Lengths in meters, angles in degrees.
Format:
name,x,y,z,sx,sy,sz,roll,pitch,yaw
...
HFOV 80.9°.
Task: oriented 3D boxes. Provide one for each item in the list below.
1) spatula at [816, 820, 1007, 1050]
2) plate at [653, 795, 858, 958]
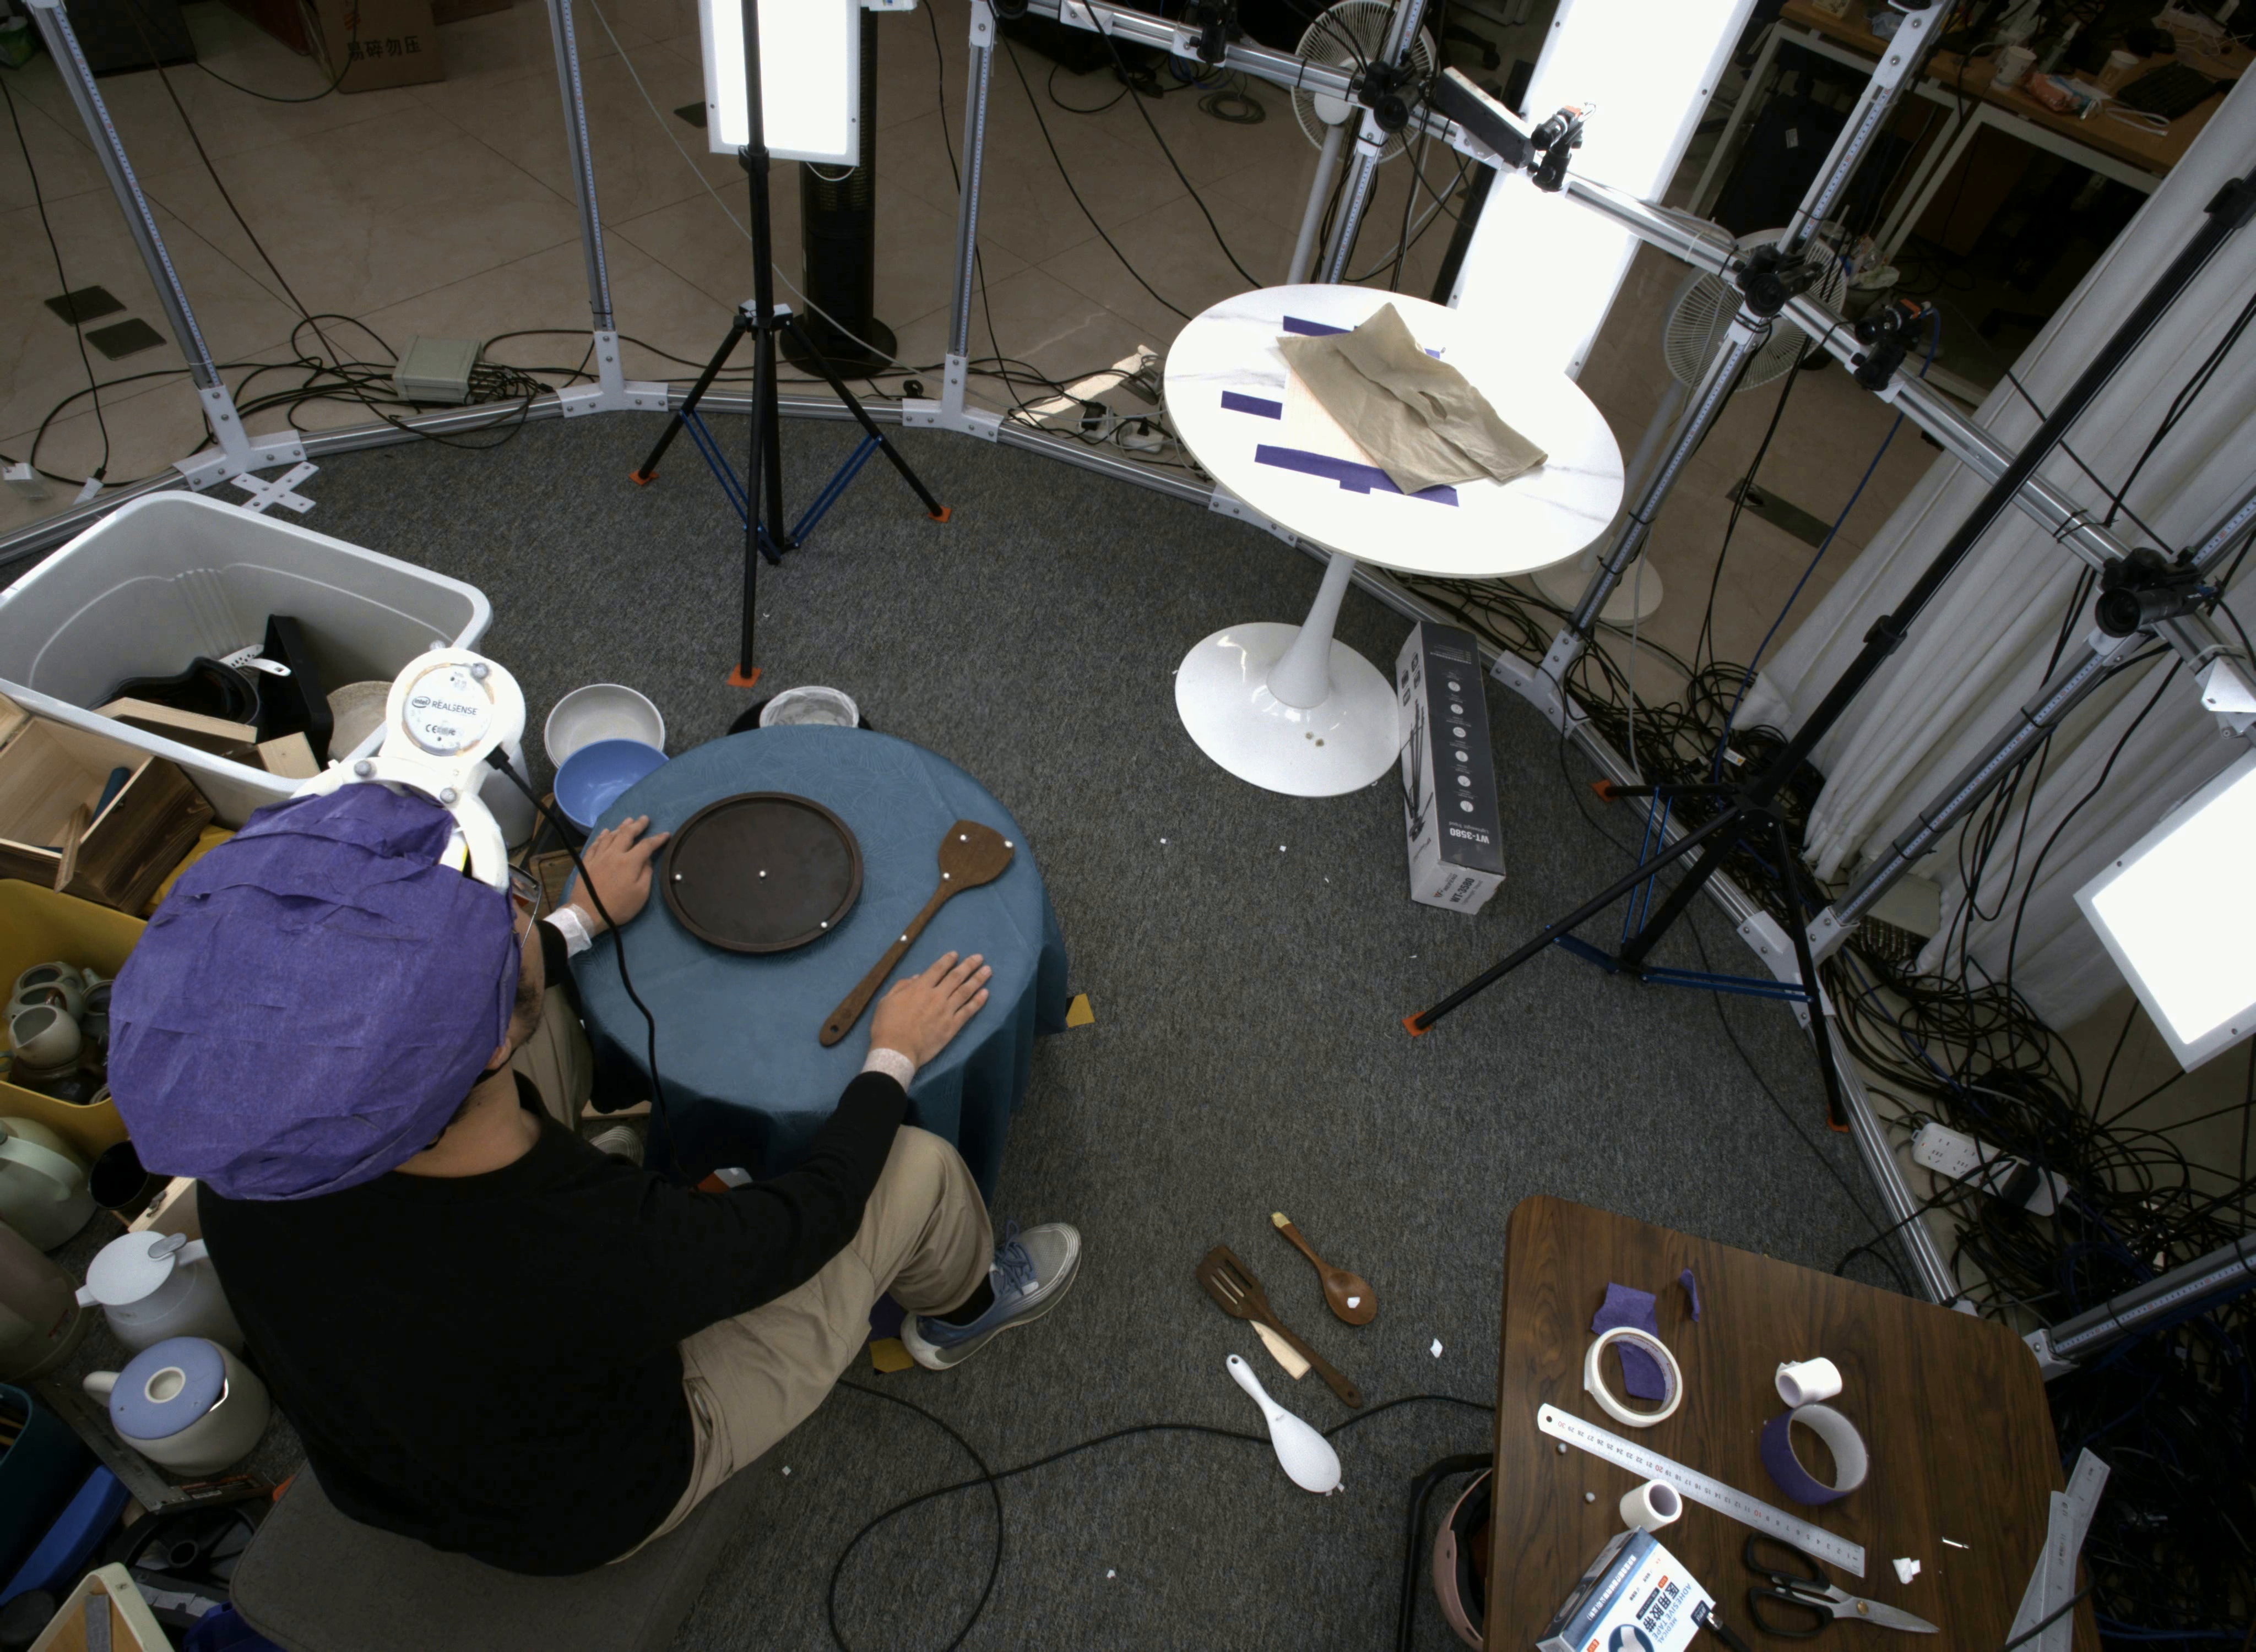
name,x,y,z,sx,sy,sz,roll,pitch,yaw
spatula,-0.279,0.131,1.650,0.094,0.016,0.384,28,52,8
plate,-0.473,0.060,1.647,0.254,0.029,0.250,9,52,-10
